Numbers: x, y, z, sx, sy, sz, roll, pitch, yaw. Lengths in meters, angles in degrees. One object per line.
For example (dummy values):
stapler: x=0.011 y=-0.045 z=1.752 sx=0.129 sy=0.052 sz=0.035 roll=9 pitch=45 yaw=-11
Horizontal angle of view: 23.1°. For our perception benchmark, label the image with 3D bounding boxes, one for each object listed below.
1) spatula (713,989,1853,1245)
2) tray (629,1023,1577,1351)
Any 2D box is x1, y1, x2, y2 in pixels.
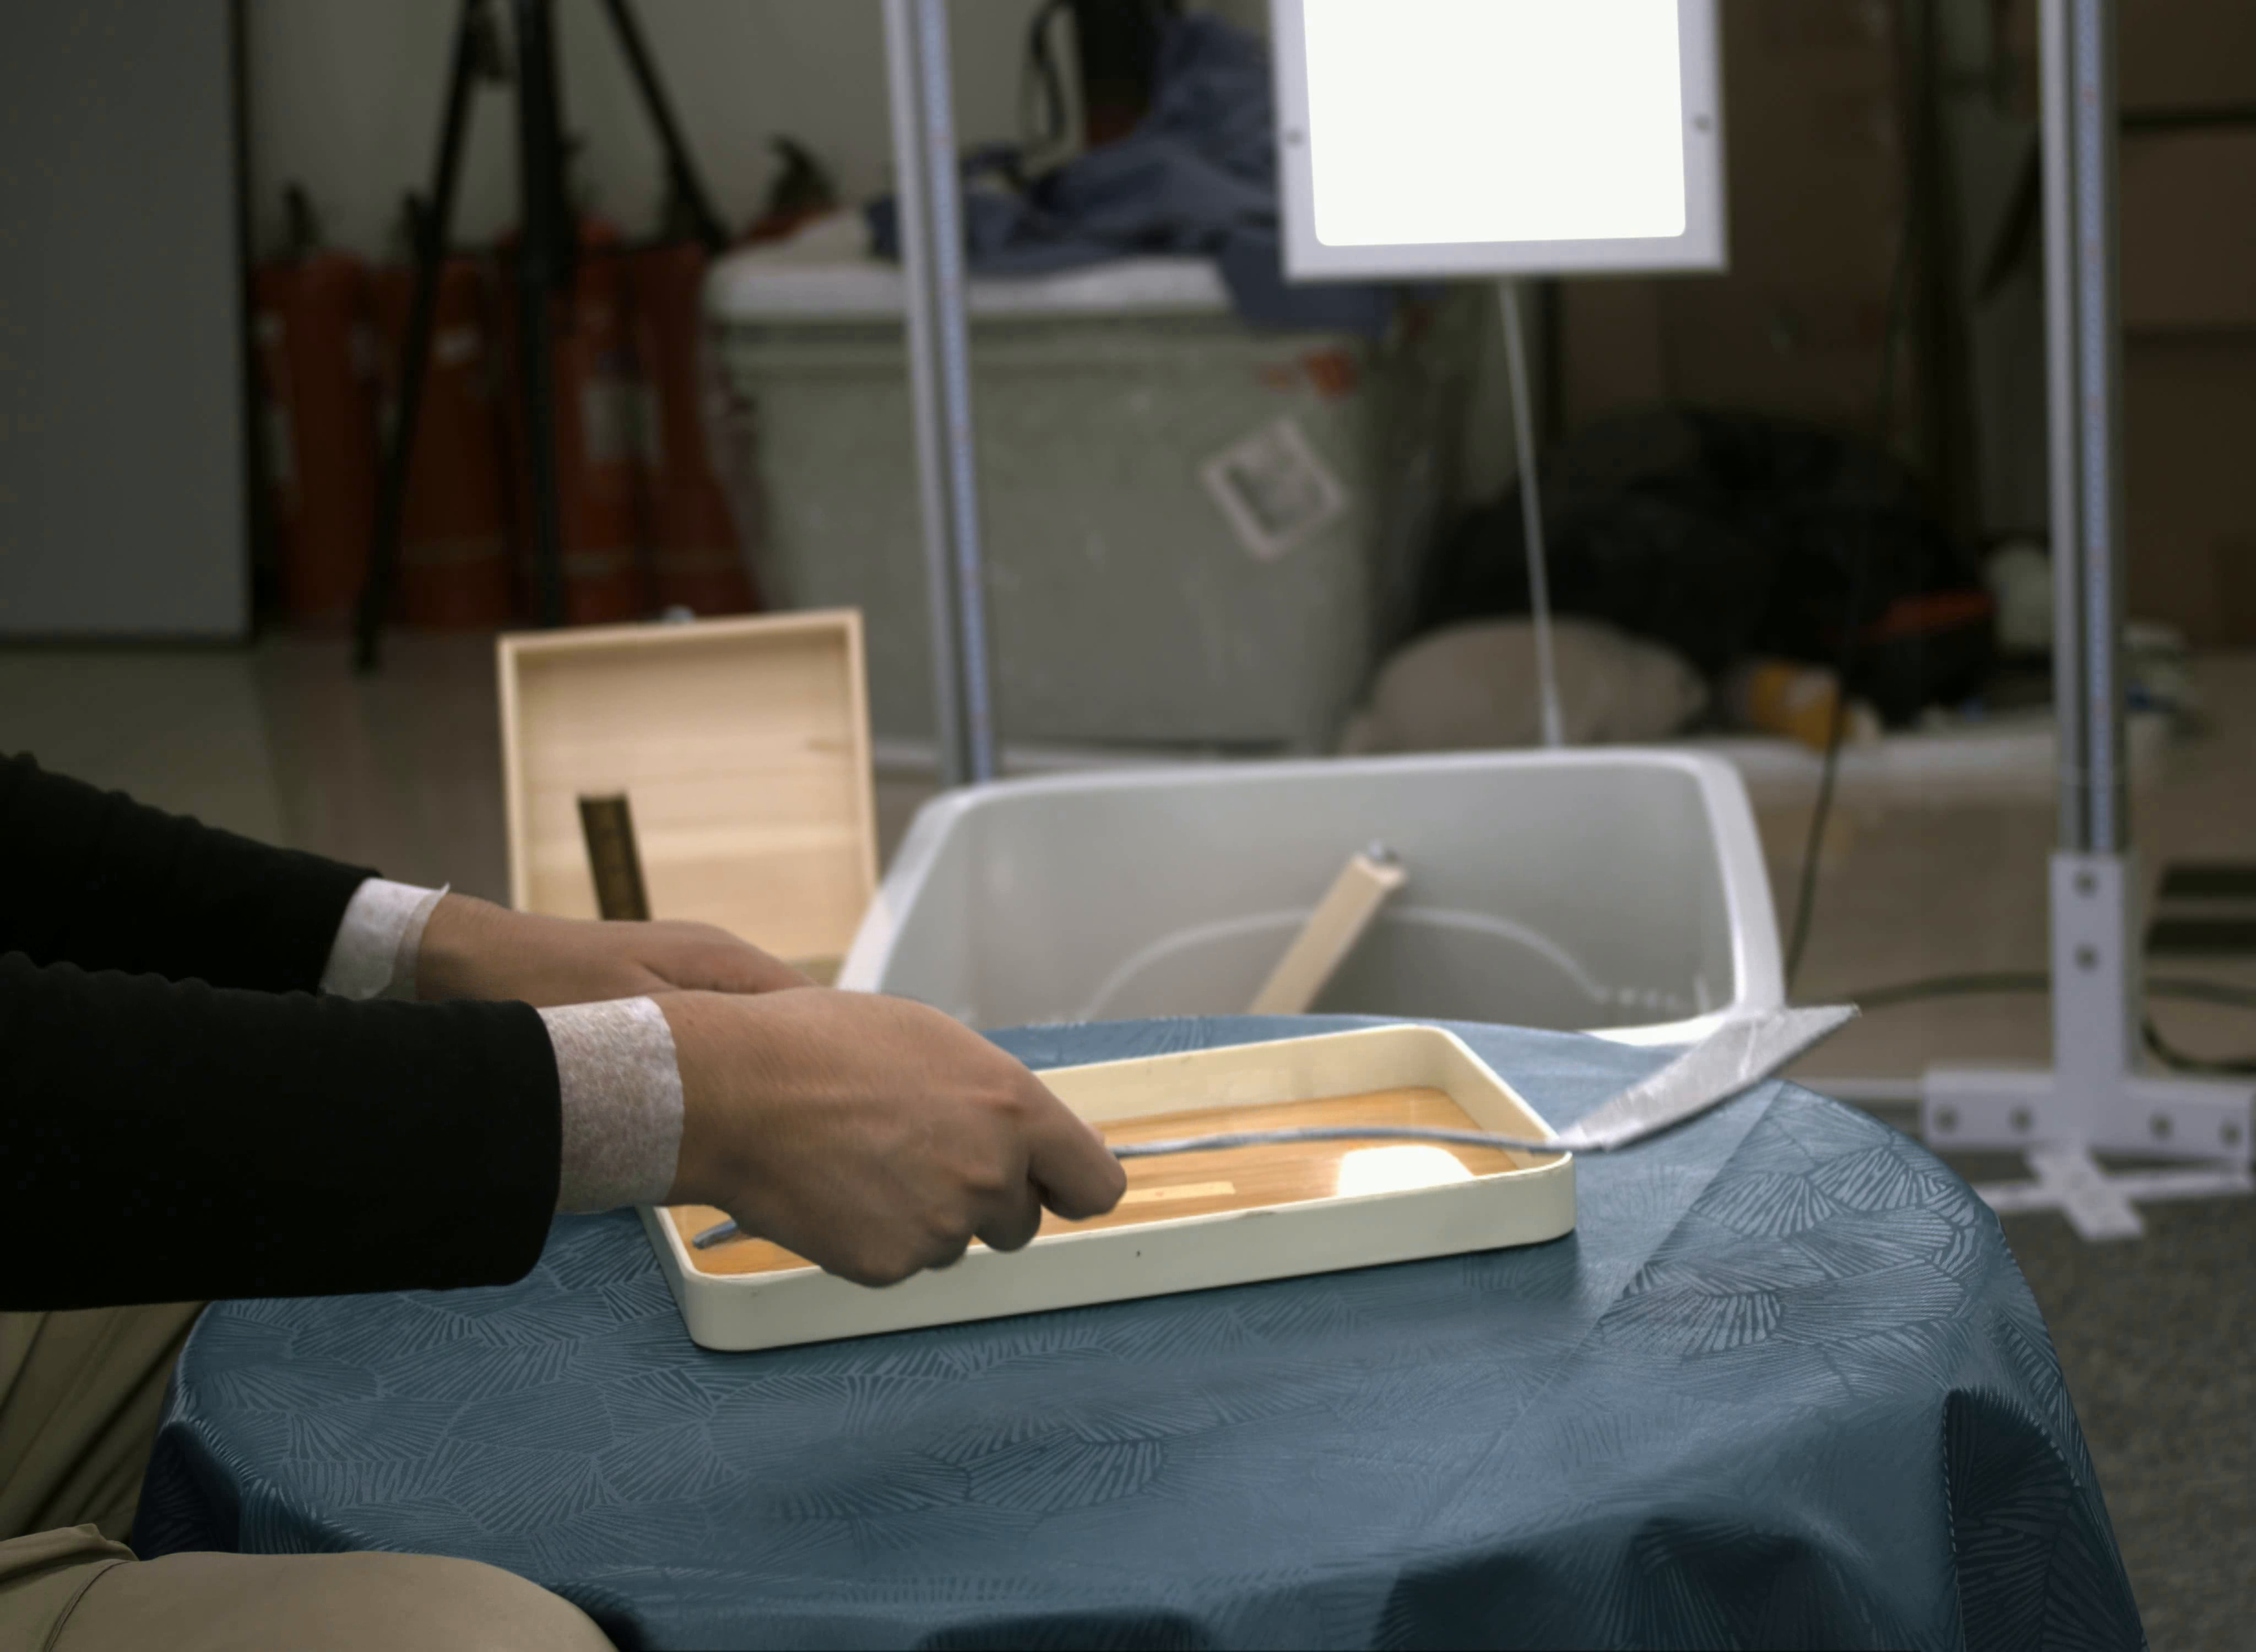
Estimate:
spatula: x=0.050 y=0.089 z=1.698 sx=0.360 sy=0.045 sz=0.099 roll=-5 pitch=-1 yaw=-12
tray: x=-0.012 y=0.120 z=1.872 sx=0.297 sy=0.027 sz=0.192 roll=-7 pitch=14 yaw=-8
